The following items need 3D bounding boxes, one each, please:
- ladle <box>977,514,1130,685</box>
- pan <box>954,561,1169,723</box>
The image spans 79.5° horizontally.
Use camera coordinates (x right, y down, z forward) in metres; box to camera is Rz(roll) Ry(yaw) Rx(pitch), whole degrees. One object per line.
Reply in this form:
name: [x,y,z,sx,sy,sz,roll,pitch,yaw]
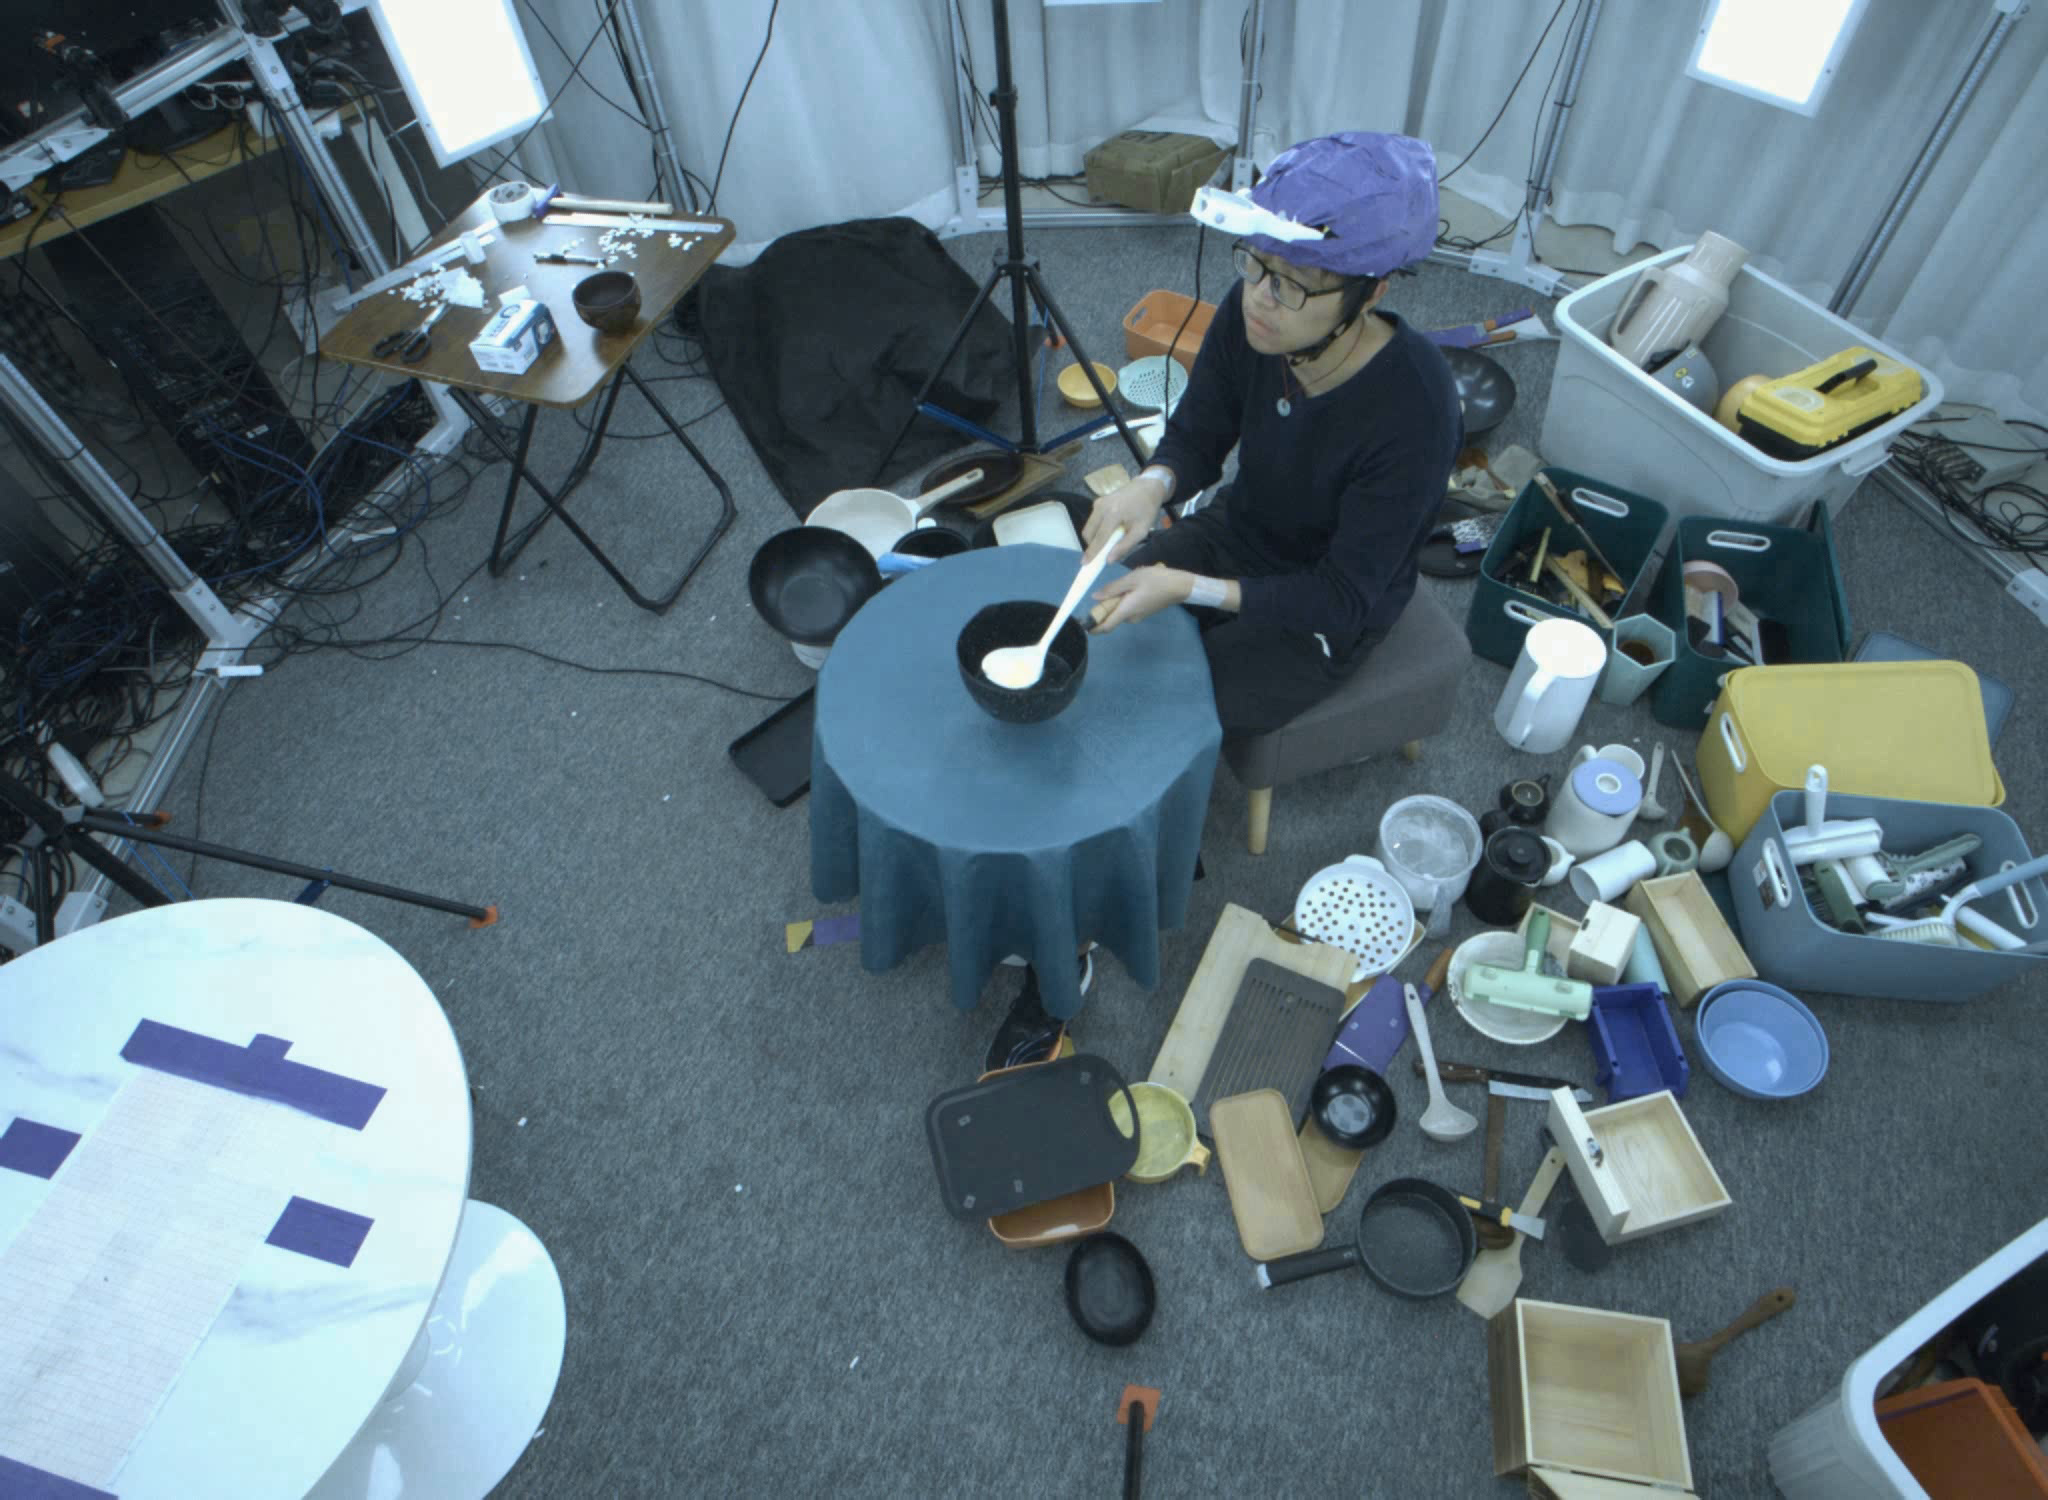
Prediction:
ladle: [0.045,-0.214,1.726,0.088,0.071,0.293,36,92,38]
pan: [0.062,-0.164,1.753,0.346,0.109,0.203,-29,55,-20]
